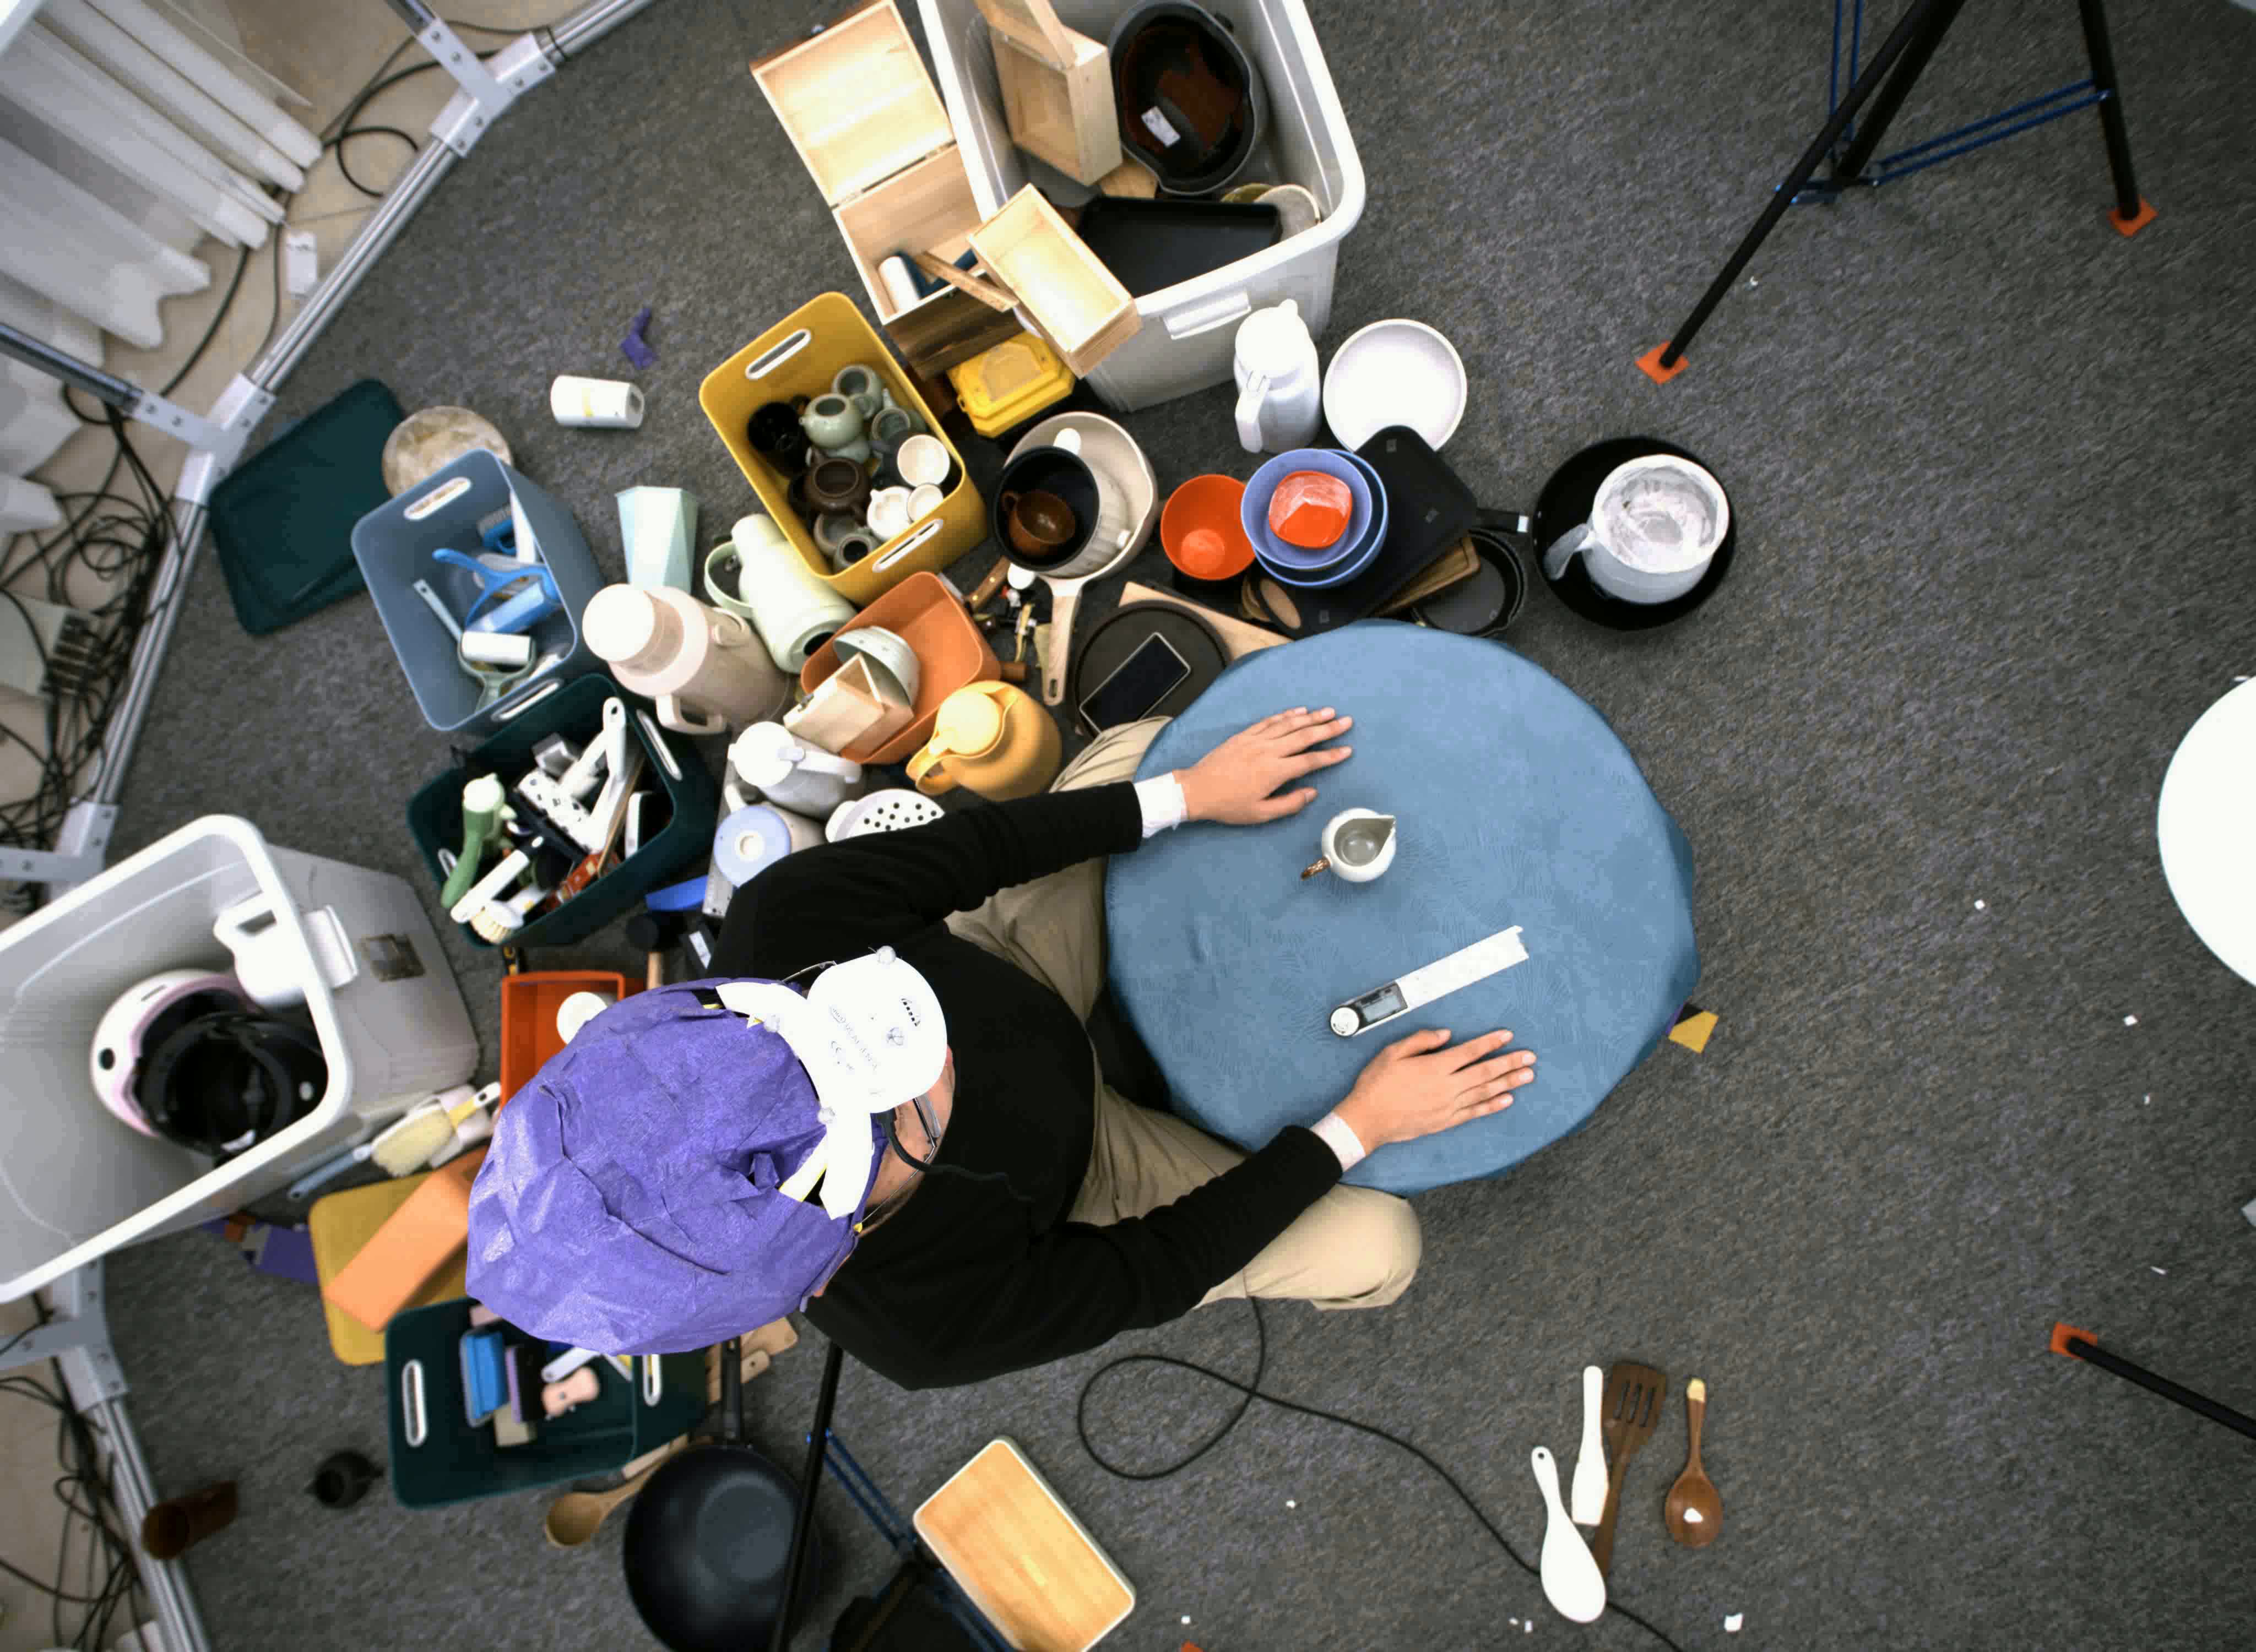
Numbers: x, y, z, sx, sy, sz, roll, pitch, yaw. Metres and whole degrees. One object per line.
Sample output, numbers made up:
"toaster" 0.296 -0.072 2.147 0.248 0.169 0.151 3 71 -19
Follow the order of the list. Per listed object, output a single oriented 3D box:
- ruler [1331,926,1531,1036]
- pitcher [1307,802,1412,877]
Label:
"ruler" 0.312 0.163 1.436 0.219 0.024 0.038 -25 88 9
"pitcher" 0.239 0.018 1.425 0.120 0.088 0.075 -27 78 6
